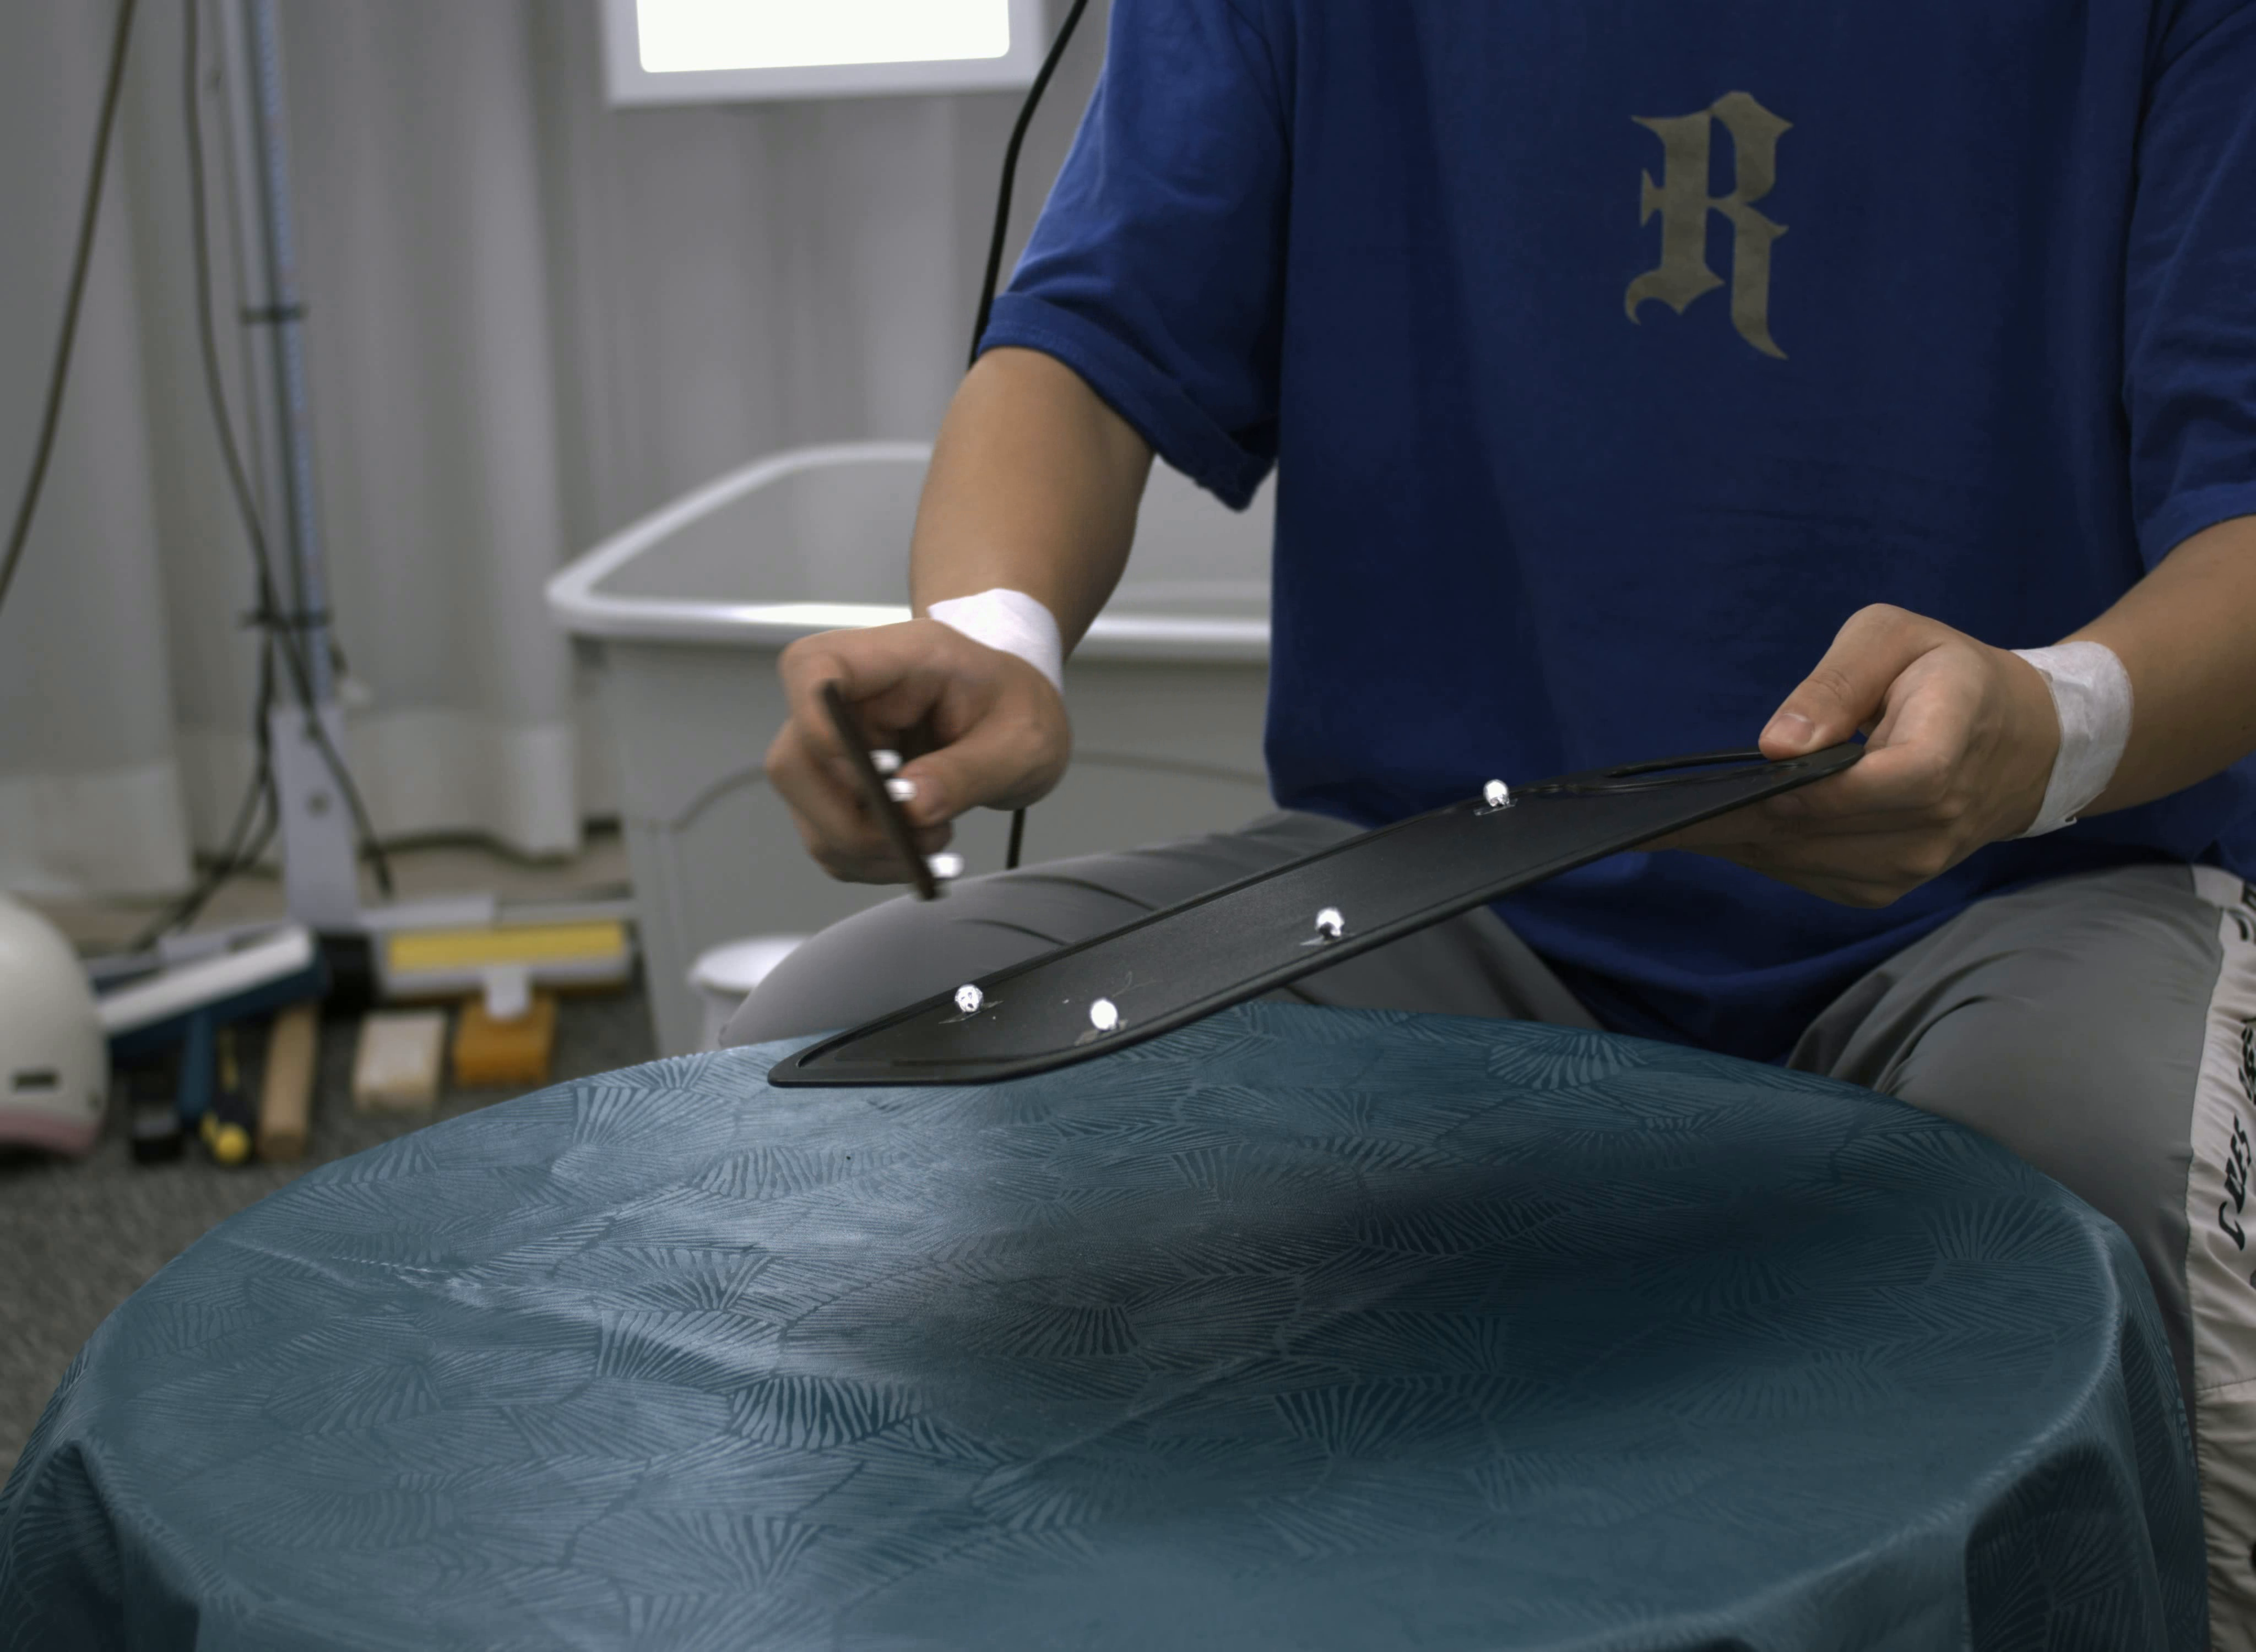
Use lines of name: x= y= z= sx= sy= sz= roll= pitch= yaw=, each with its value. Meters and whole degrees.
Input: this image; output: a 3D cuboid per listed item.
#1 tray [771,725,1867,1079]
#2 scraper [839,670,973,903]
tray: x=0.062 y=0.019 z=1.614 sx=0.325 sy=0.010 sz=0.211 roll=-20 pitch=7 yaw=-27
scraper: x=-0.071 y=-0.010 z=1.700 sx=0.011 sy=0.076 sz=0.211 roll=-28 pitch=0 yaw=-3
